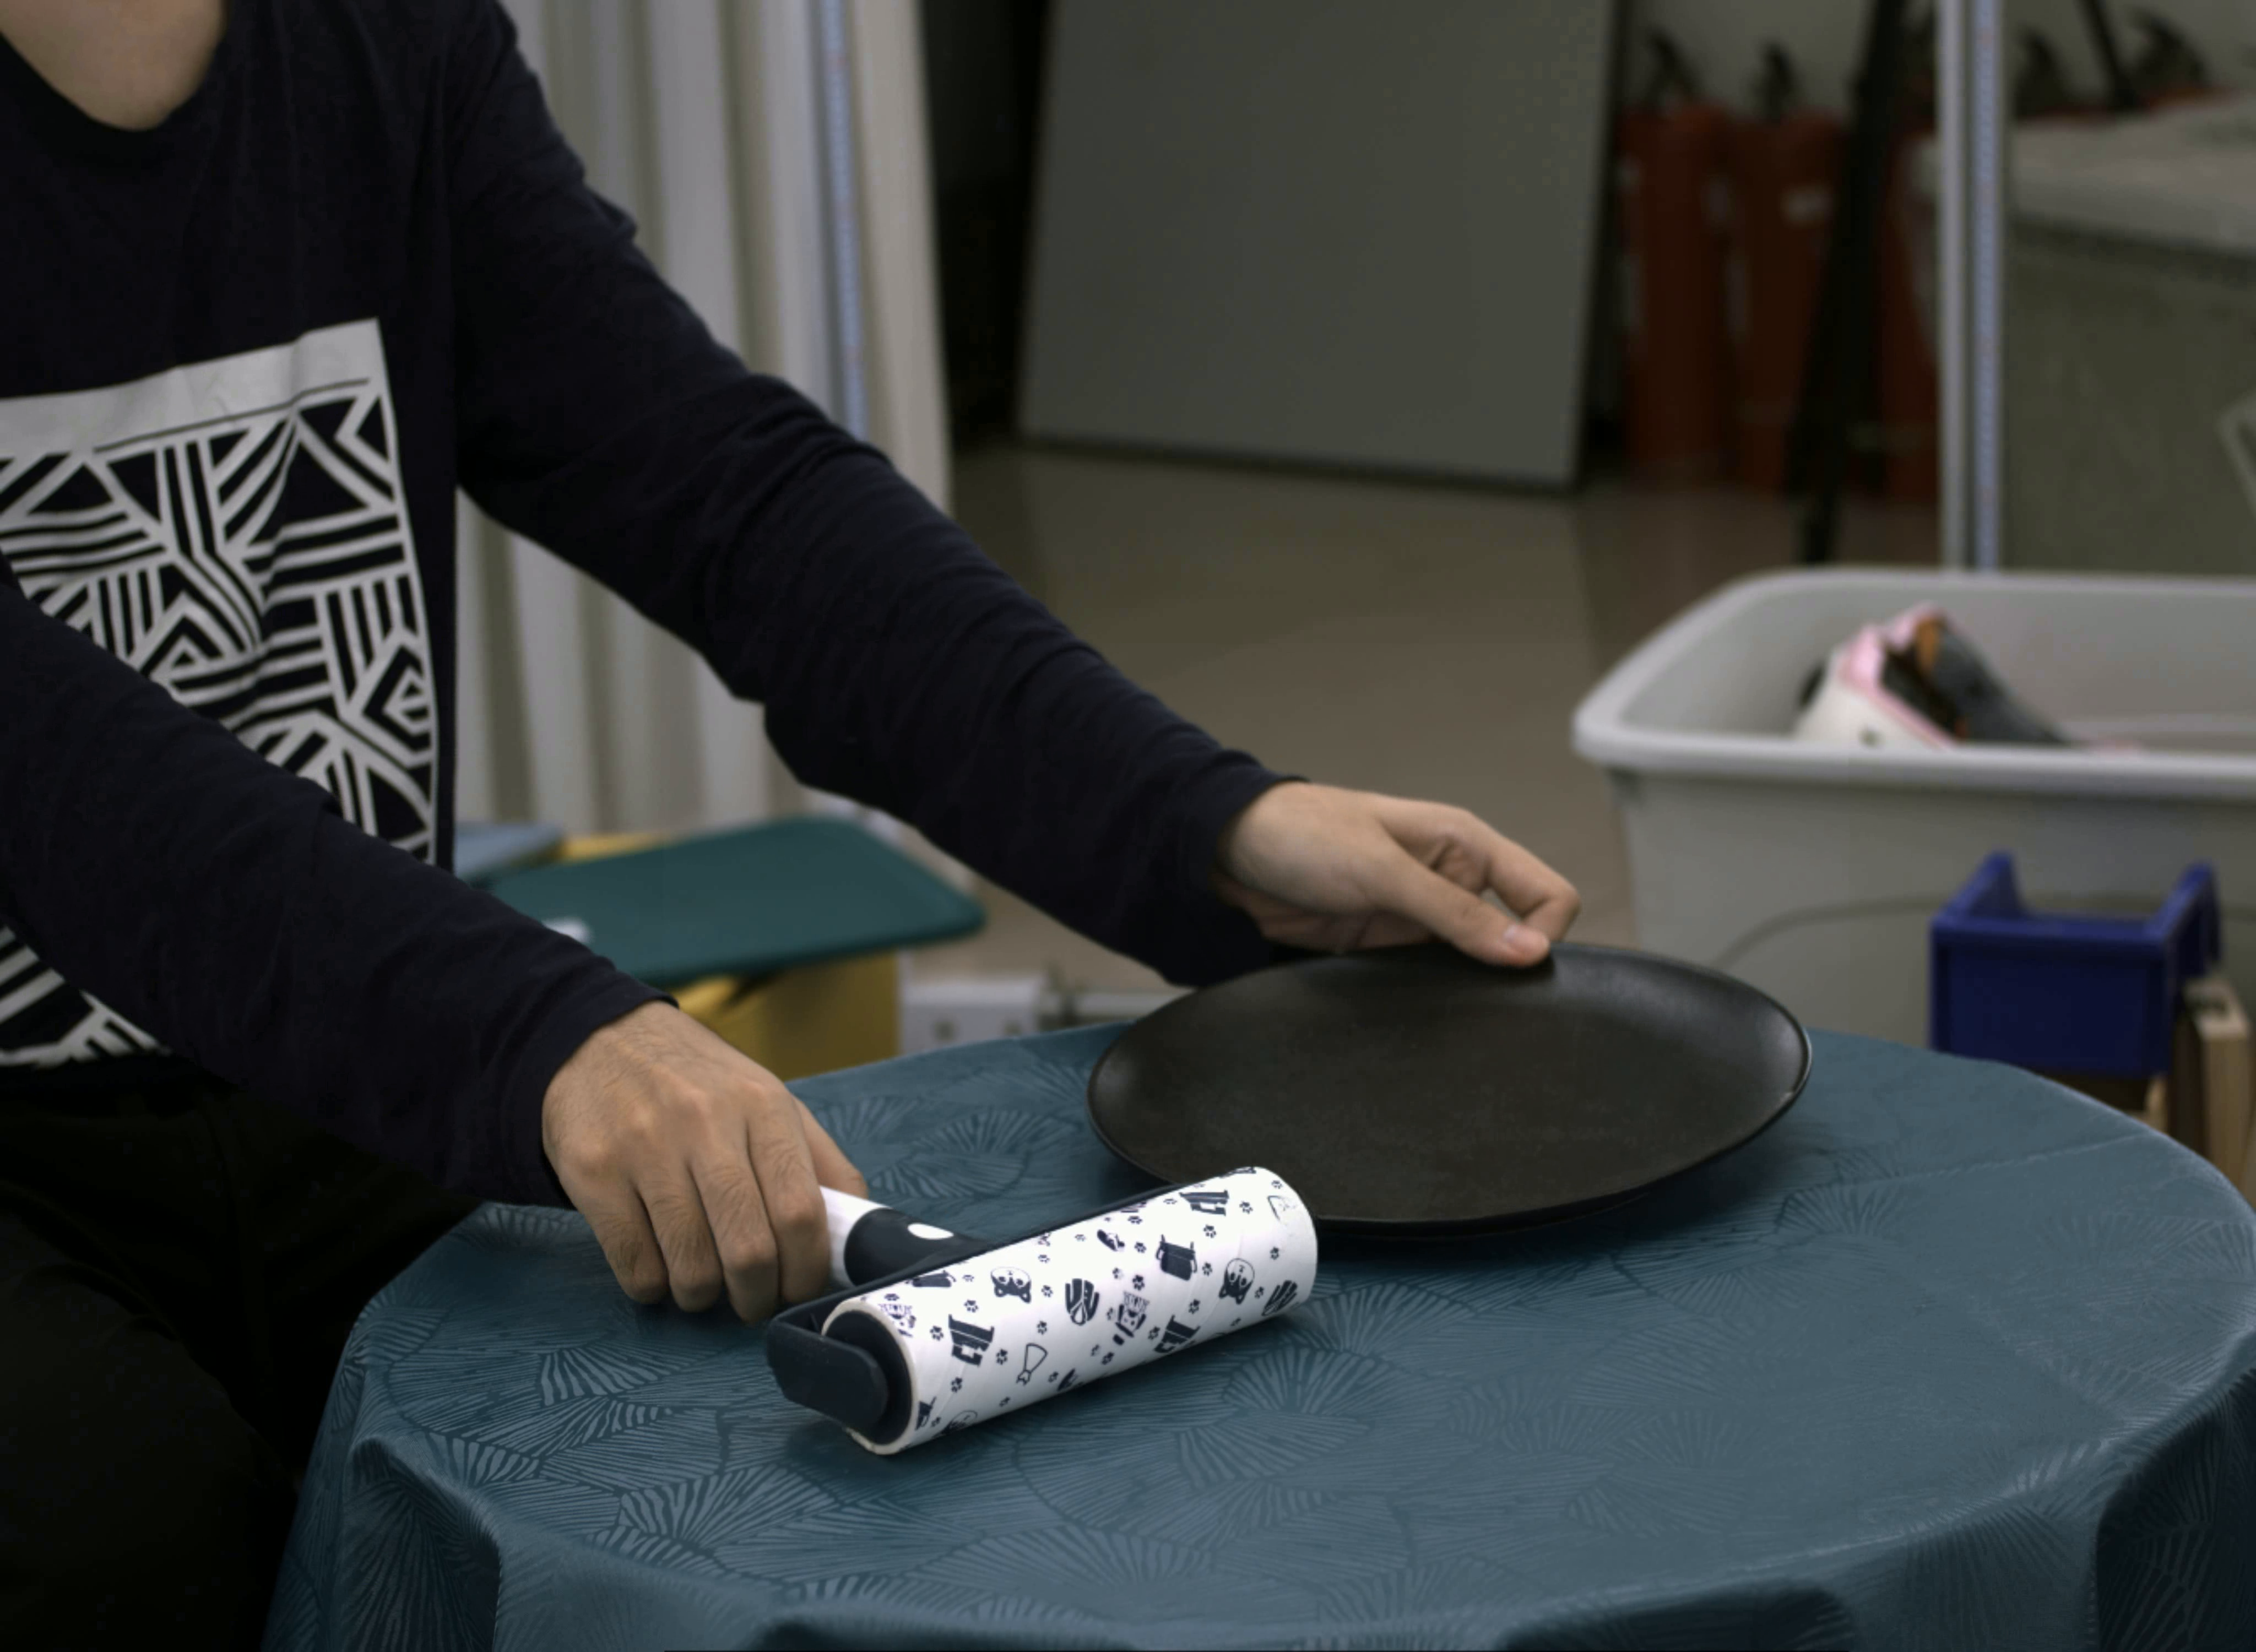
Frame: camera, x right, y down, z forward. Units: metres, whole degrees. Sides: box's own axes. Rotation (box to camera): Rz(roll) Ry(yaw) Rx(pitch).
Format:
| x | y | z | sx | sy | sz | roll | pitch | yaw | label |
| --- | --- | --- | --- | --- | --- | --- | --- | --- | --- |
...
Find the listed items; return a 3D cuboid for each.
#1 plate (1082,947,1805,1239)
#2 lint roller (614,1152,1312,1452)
| x | y | z | sx | sy | sz | roll | pitch | yaw | label |
| --- | --- | --- | --- | --- | --- | --- | --- | --- | --- |
| 0.104 | 0.092 | 1.787 | 0.241 | 0.023 | 0.245 | -6 | 18 | 1 | plate |
| -0.084 | 0.130 | 1.669 | 0.172 | 0.051 | 0.249 | -16 | 16 | -39 | lint roller |
